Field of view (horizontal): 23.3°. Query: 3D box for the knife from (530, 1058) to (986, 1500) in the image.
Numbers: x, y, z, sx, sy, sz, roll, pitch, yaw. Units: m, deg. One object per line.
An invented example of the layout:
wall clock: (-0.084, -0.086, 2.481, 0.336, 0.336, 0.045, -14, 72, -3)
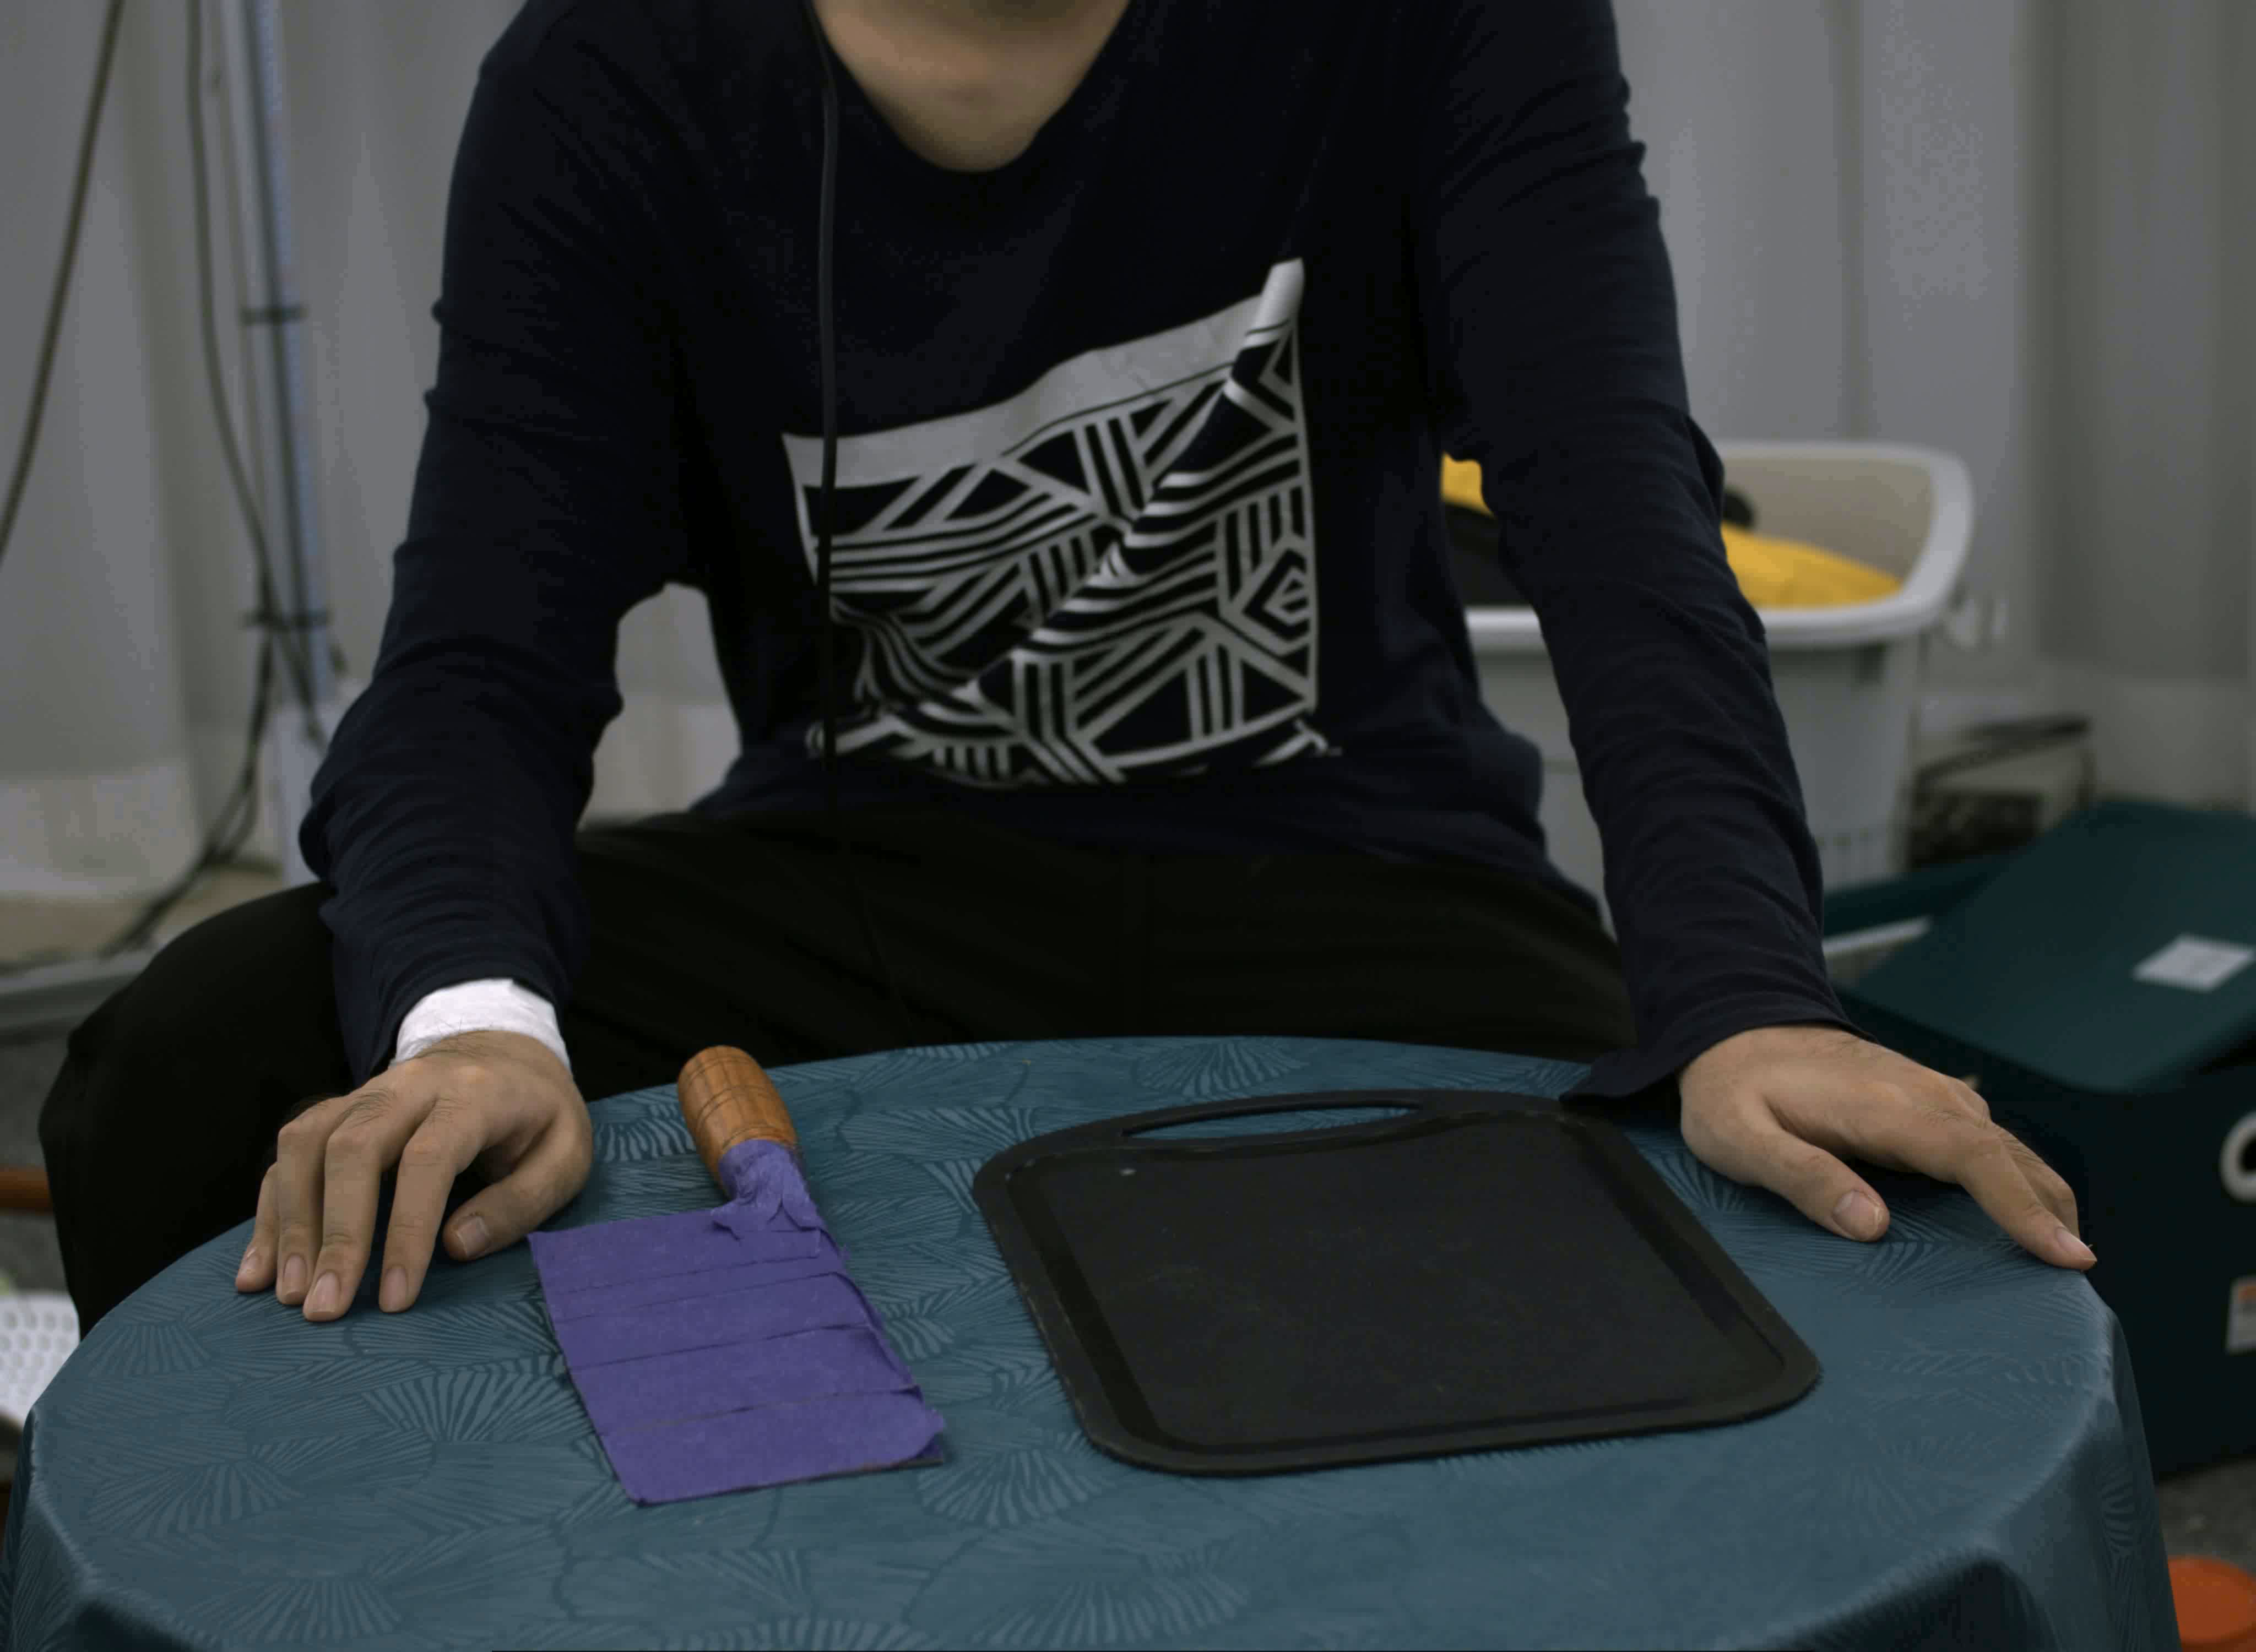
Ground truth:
knife: (-0.127, 0.131, 1.629, 0.103, 0.032, 0.318, -6, 15, -13)

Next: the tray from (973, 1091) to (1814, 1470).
tray: (0.070, 0.129, 1.639, 0.210, 0.010, 0.328, -5, 15, -8)
